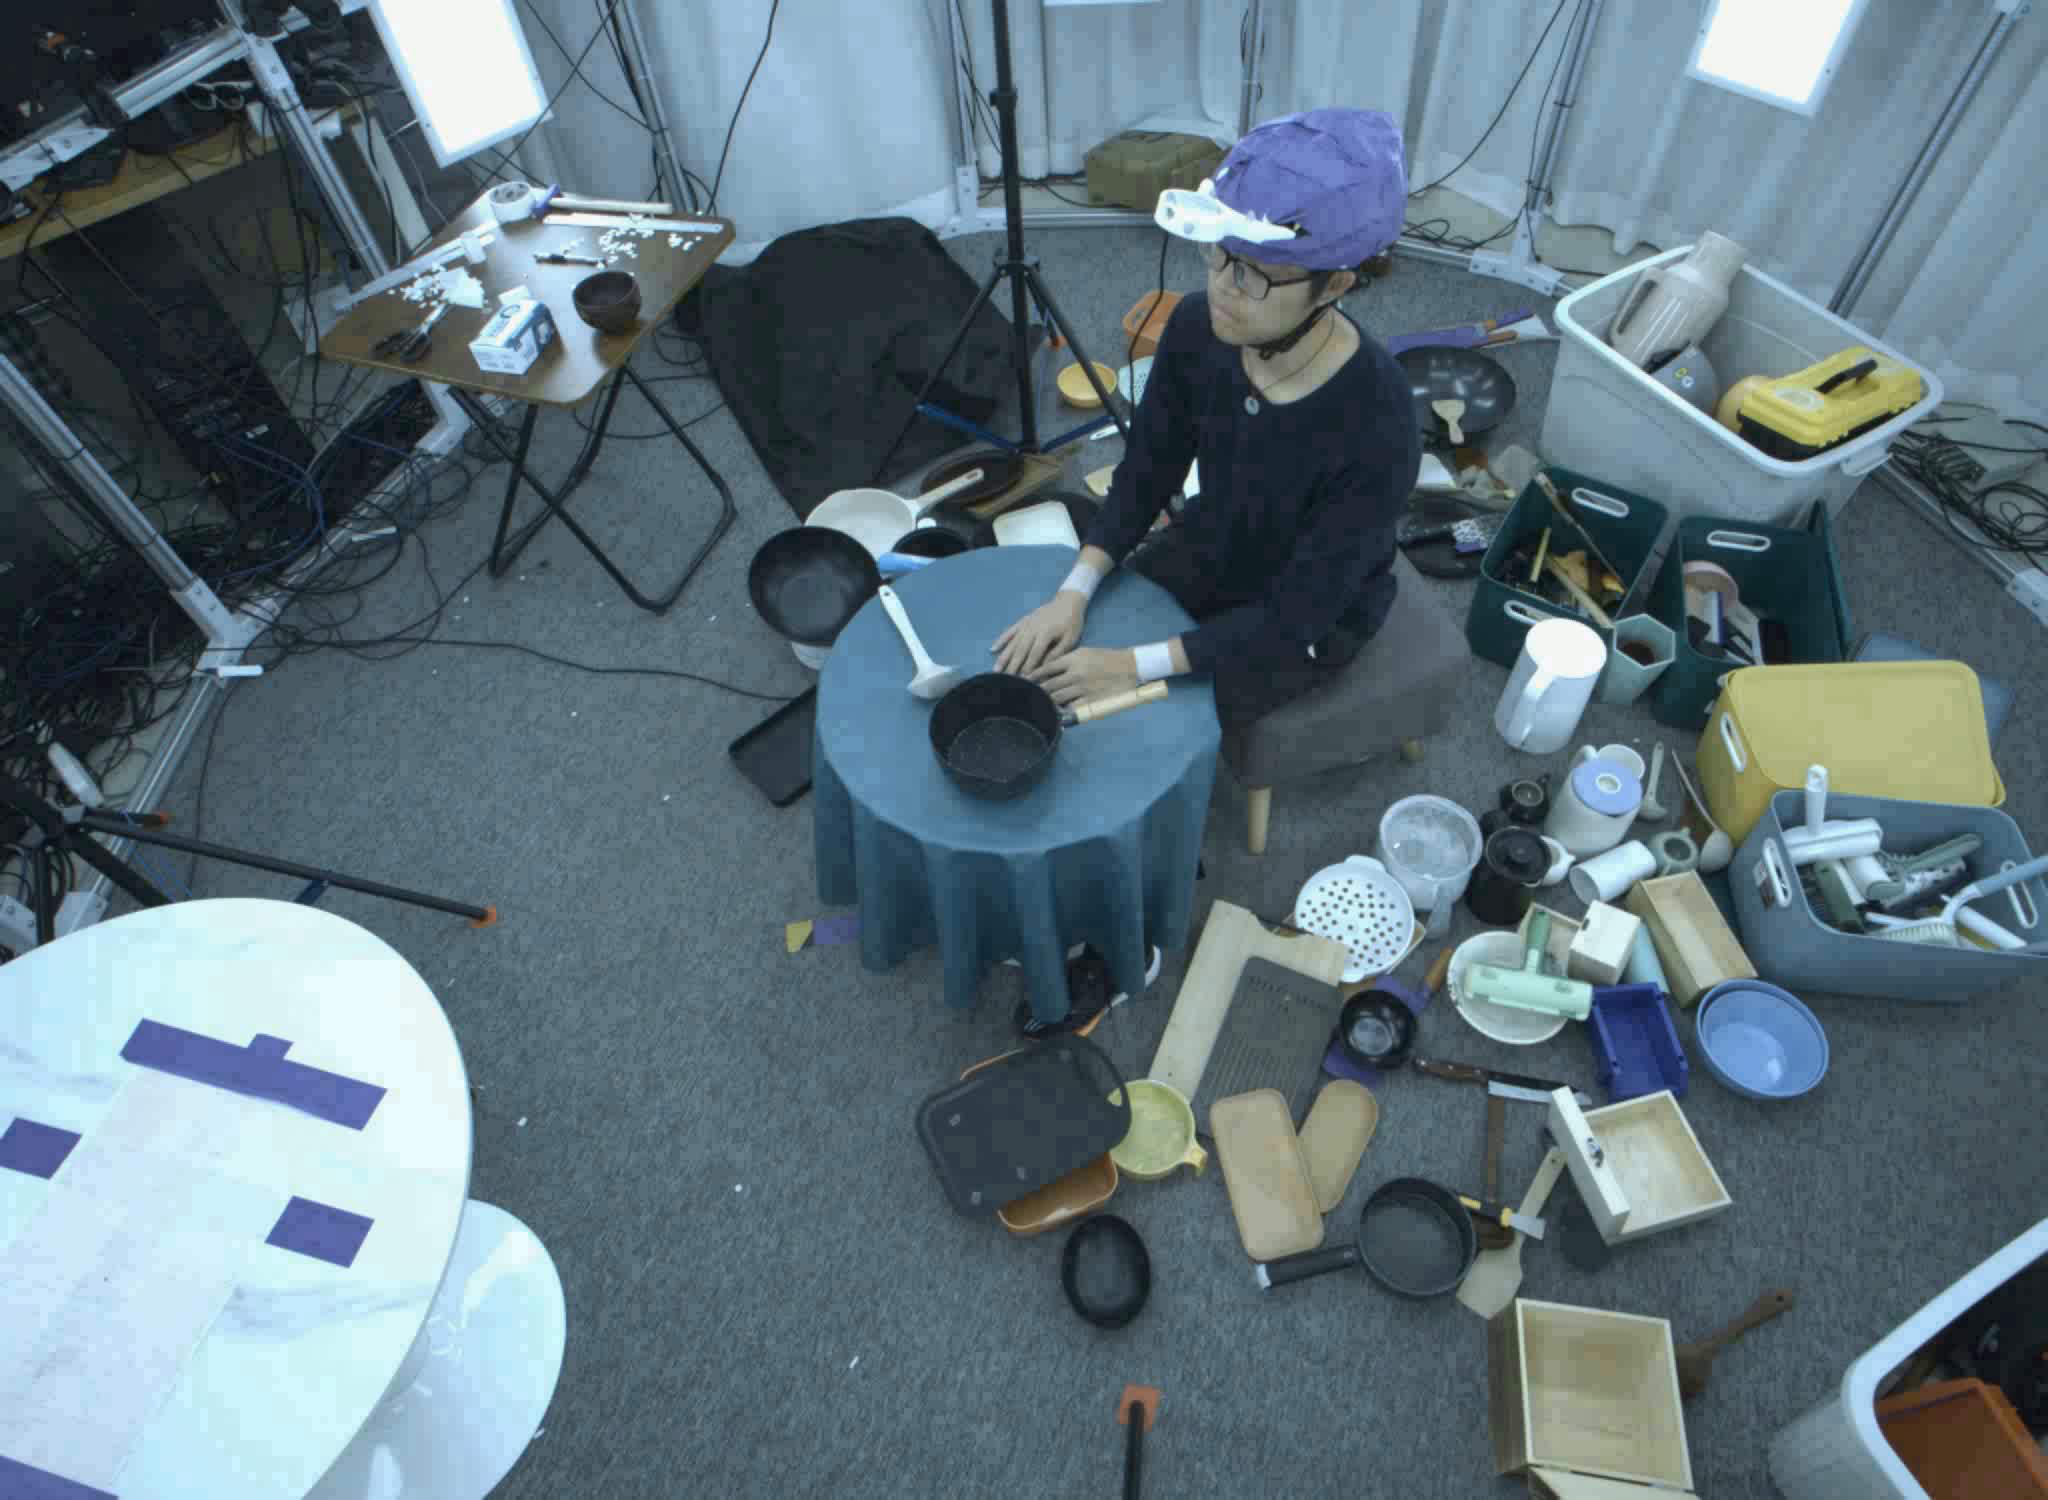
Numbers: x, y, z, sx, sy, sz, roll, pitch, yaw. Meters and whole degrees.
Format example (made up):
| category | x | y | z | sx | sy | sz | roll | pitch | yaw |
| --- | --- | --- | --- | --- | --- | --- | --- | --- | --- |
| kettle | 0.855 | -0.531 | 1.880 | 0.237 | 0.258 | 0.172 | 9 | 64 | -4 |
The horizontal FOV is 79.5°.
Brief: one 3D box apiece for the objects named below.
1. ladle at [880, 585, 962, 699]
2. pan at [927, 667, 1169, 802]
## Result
| category | x | y | z | sx | sy | sz | roll | pitch | yaw |
| --- | --- | --- | --- | --- | --- | --- | --- | --- | --- |
| ladle | -0.178 | -0.185 | 1.883 | 0.089 | 0.070 | 0.270 | -26 | 57 | -6 |
| pan | 0.037 | -0.034 | 1.743 | 0.344 | 0.109 | 0.204 | -11 | 54 | -4 |
